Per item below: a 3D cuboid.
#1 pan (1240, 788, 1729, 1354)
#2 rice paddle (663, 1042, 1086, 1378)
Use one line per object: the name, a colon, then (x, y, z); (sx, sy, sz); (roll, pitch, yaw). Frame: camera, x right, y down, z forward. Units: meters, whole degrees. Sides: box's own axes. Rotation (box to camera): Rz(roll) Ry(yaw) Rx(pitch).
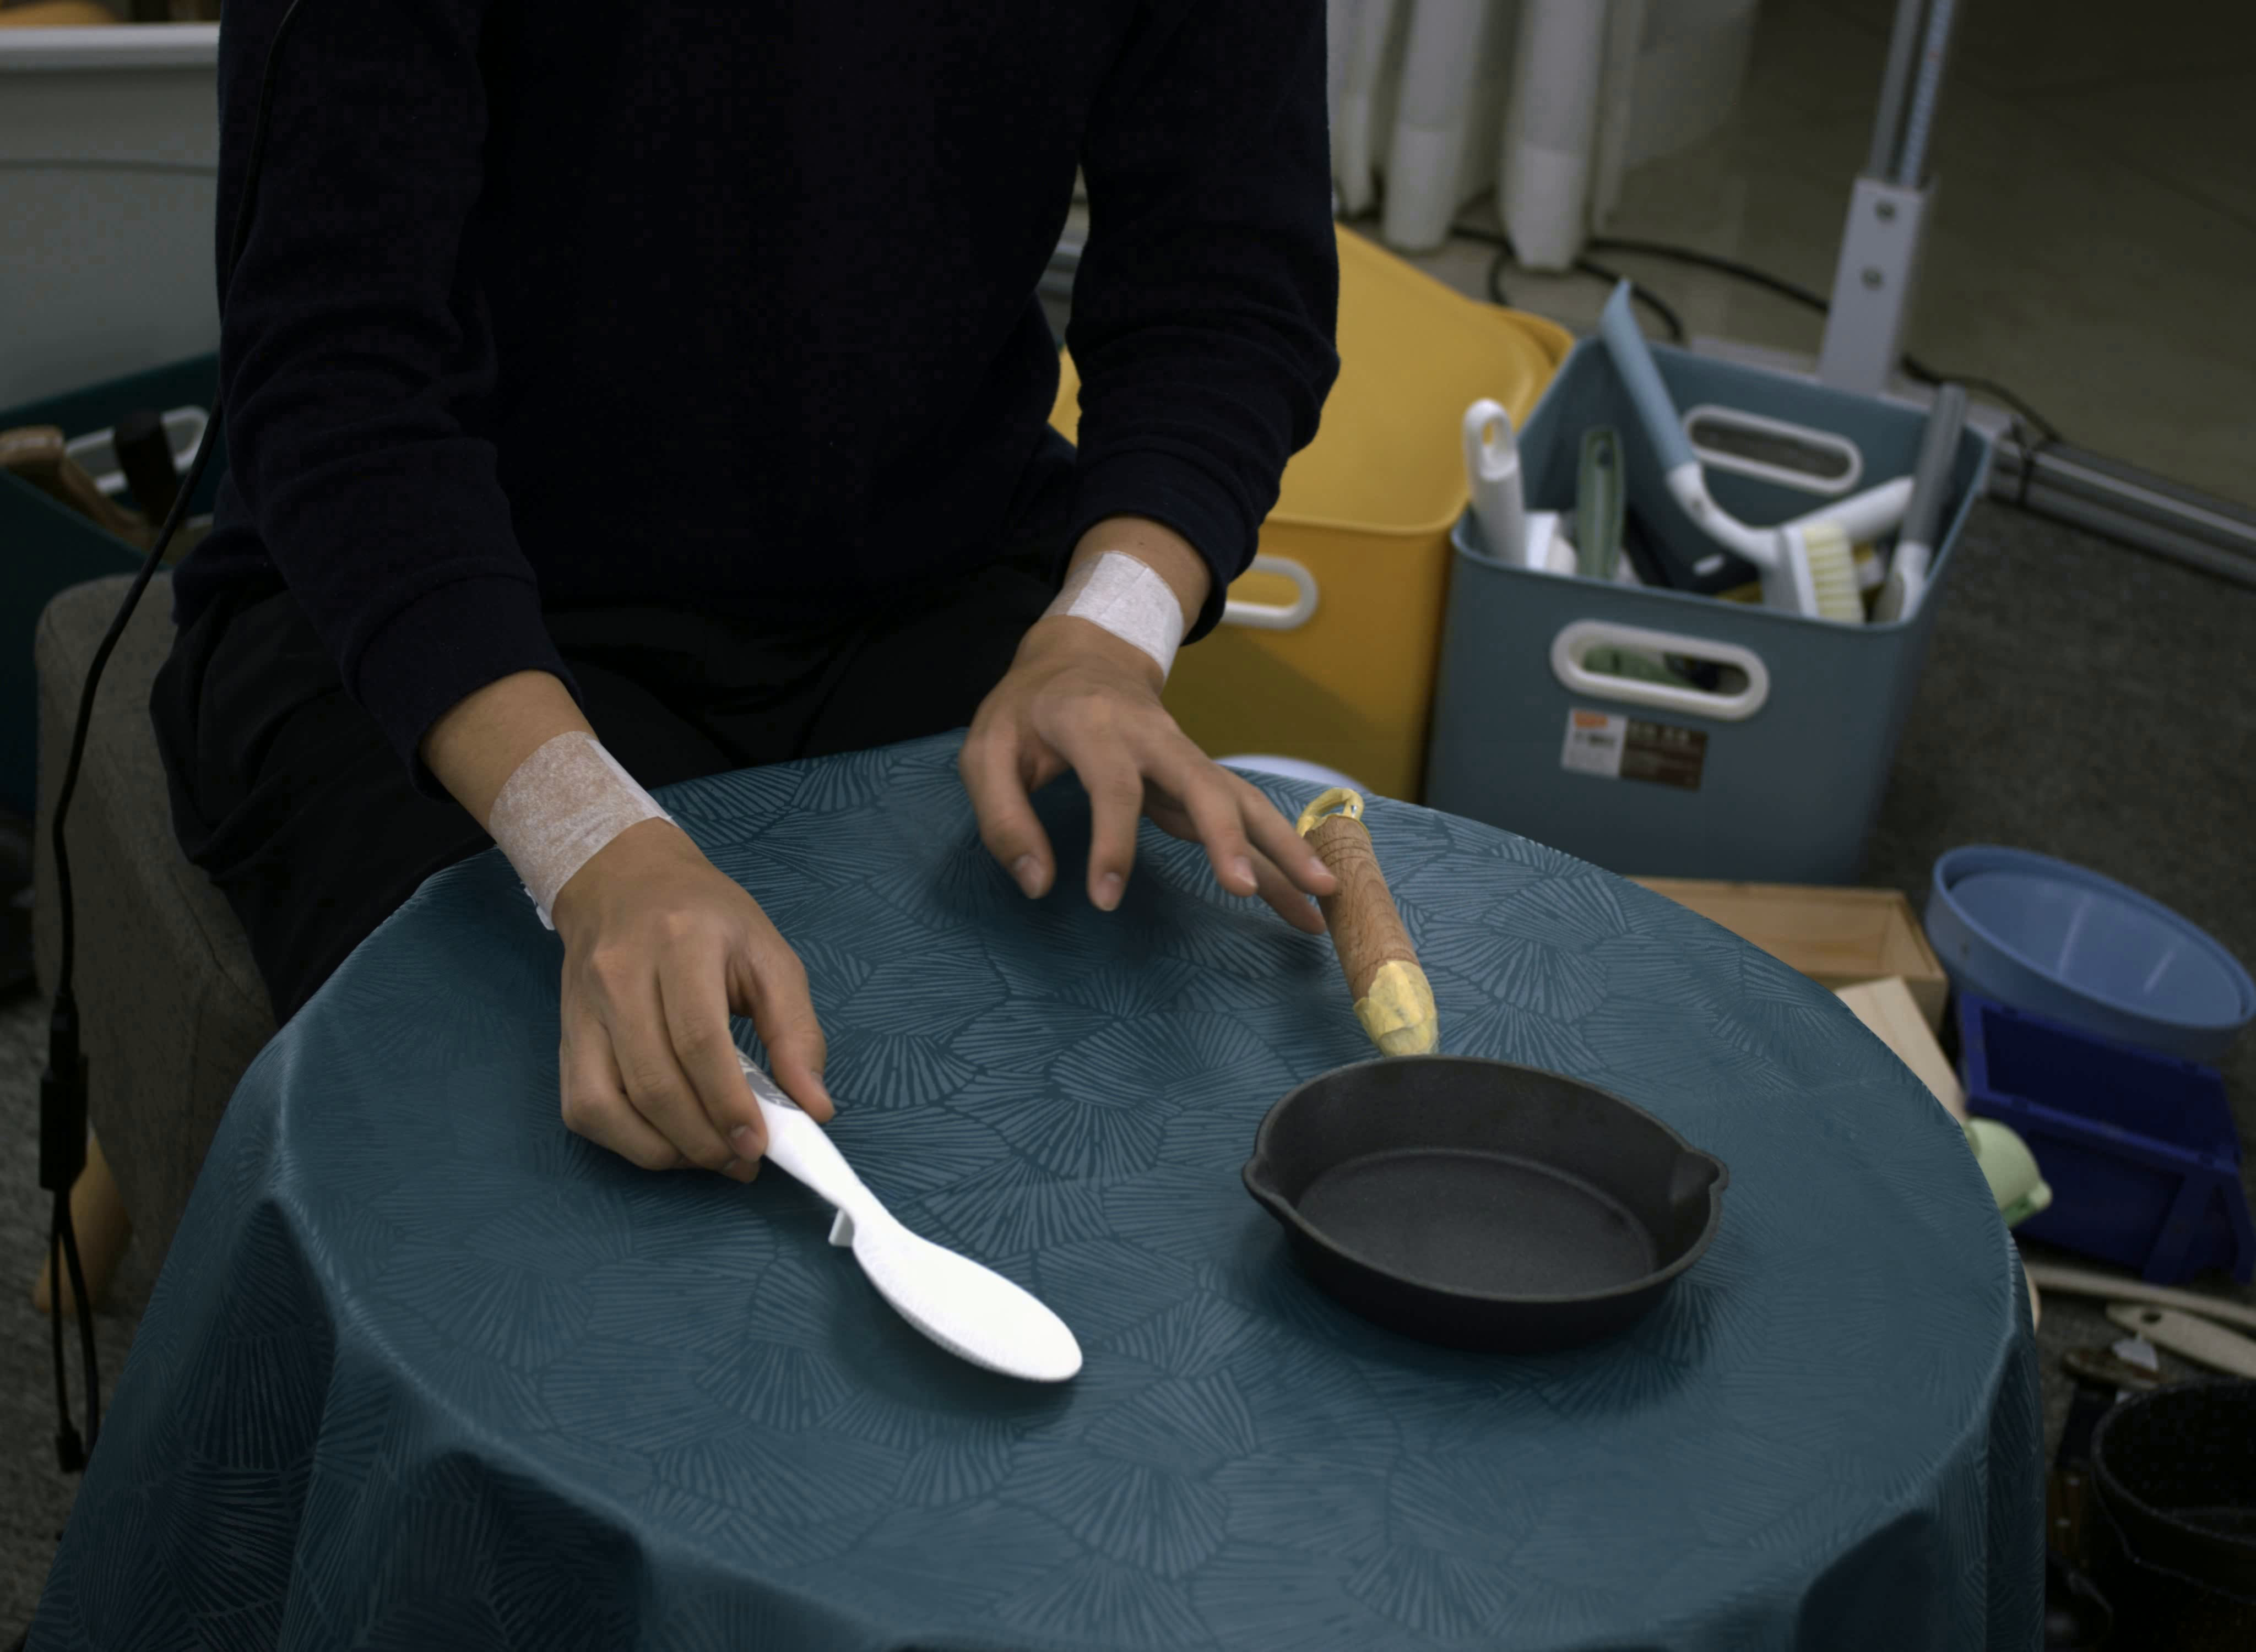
pan: (0.104, 0.082, 1.851); (0.168, 0.049, 0.327); (0, 29, -12)
rice paddle: (-0.084, 0.128, 1.741); (0.068, 0.029, 0.207); (10, 17, -44)
